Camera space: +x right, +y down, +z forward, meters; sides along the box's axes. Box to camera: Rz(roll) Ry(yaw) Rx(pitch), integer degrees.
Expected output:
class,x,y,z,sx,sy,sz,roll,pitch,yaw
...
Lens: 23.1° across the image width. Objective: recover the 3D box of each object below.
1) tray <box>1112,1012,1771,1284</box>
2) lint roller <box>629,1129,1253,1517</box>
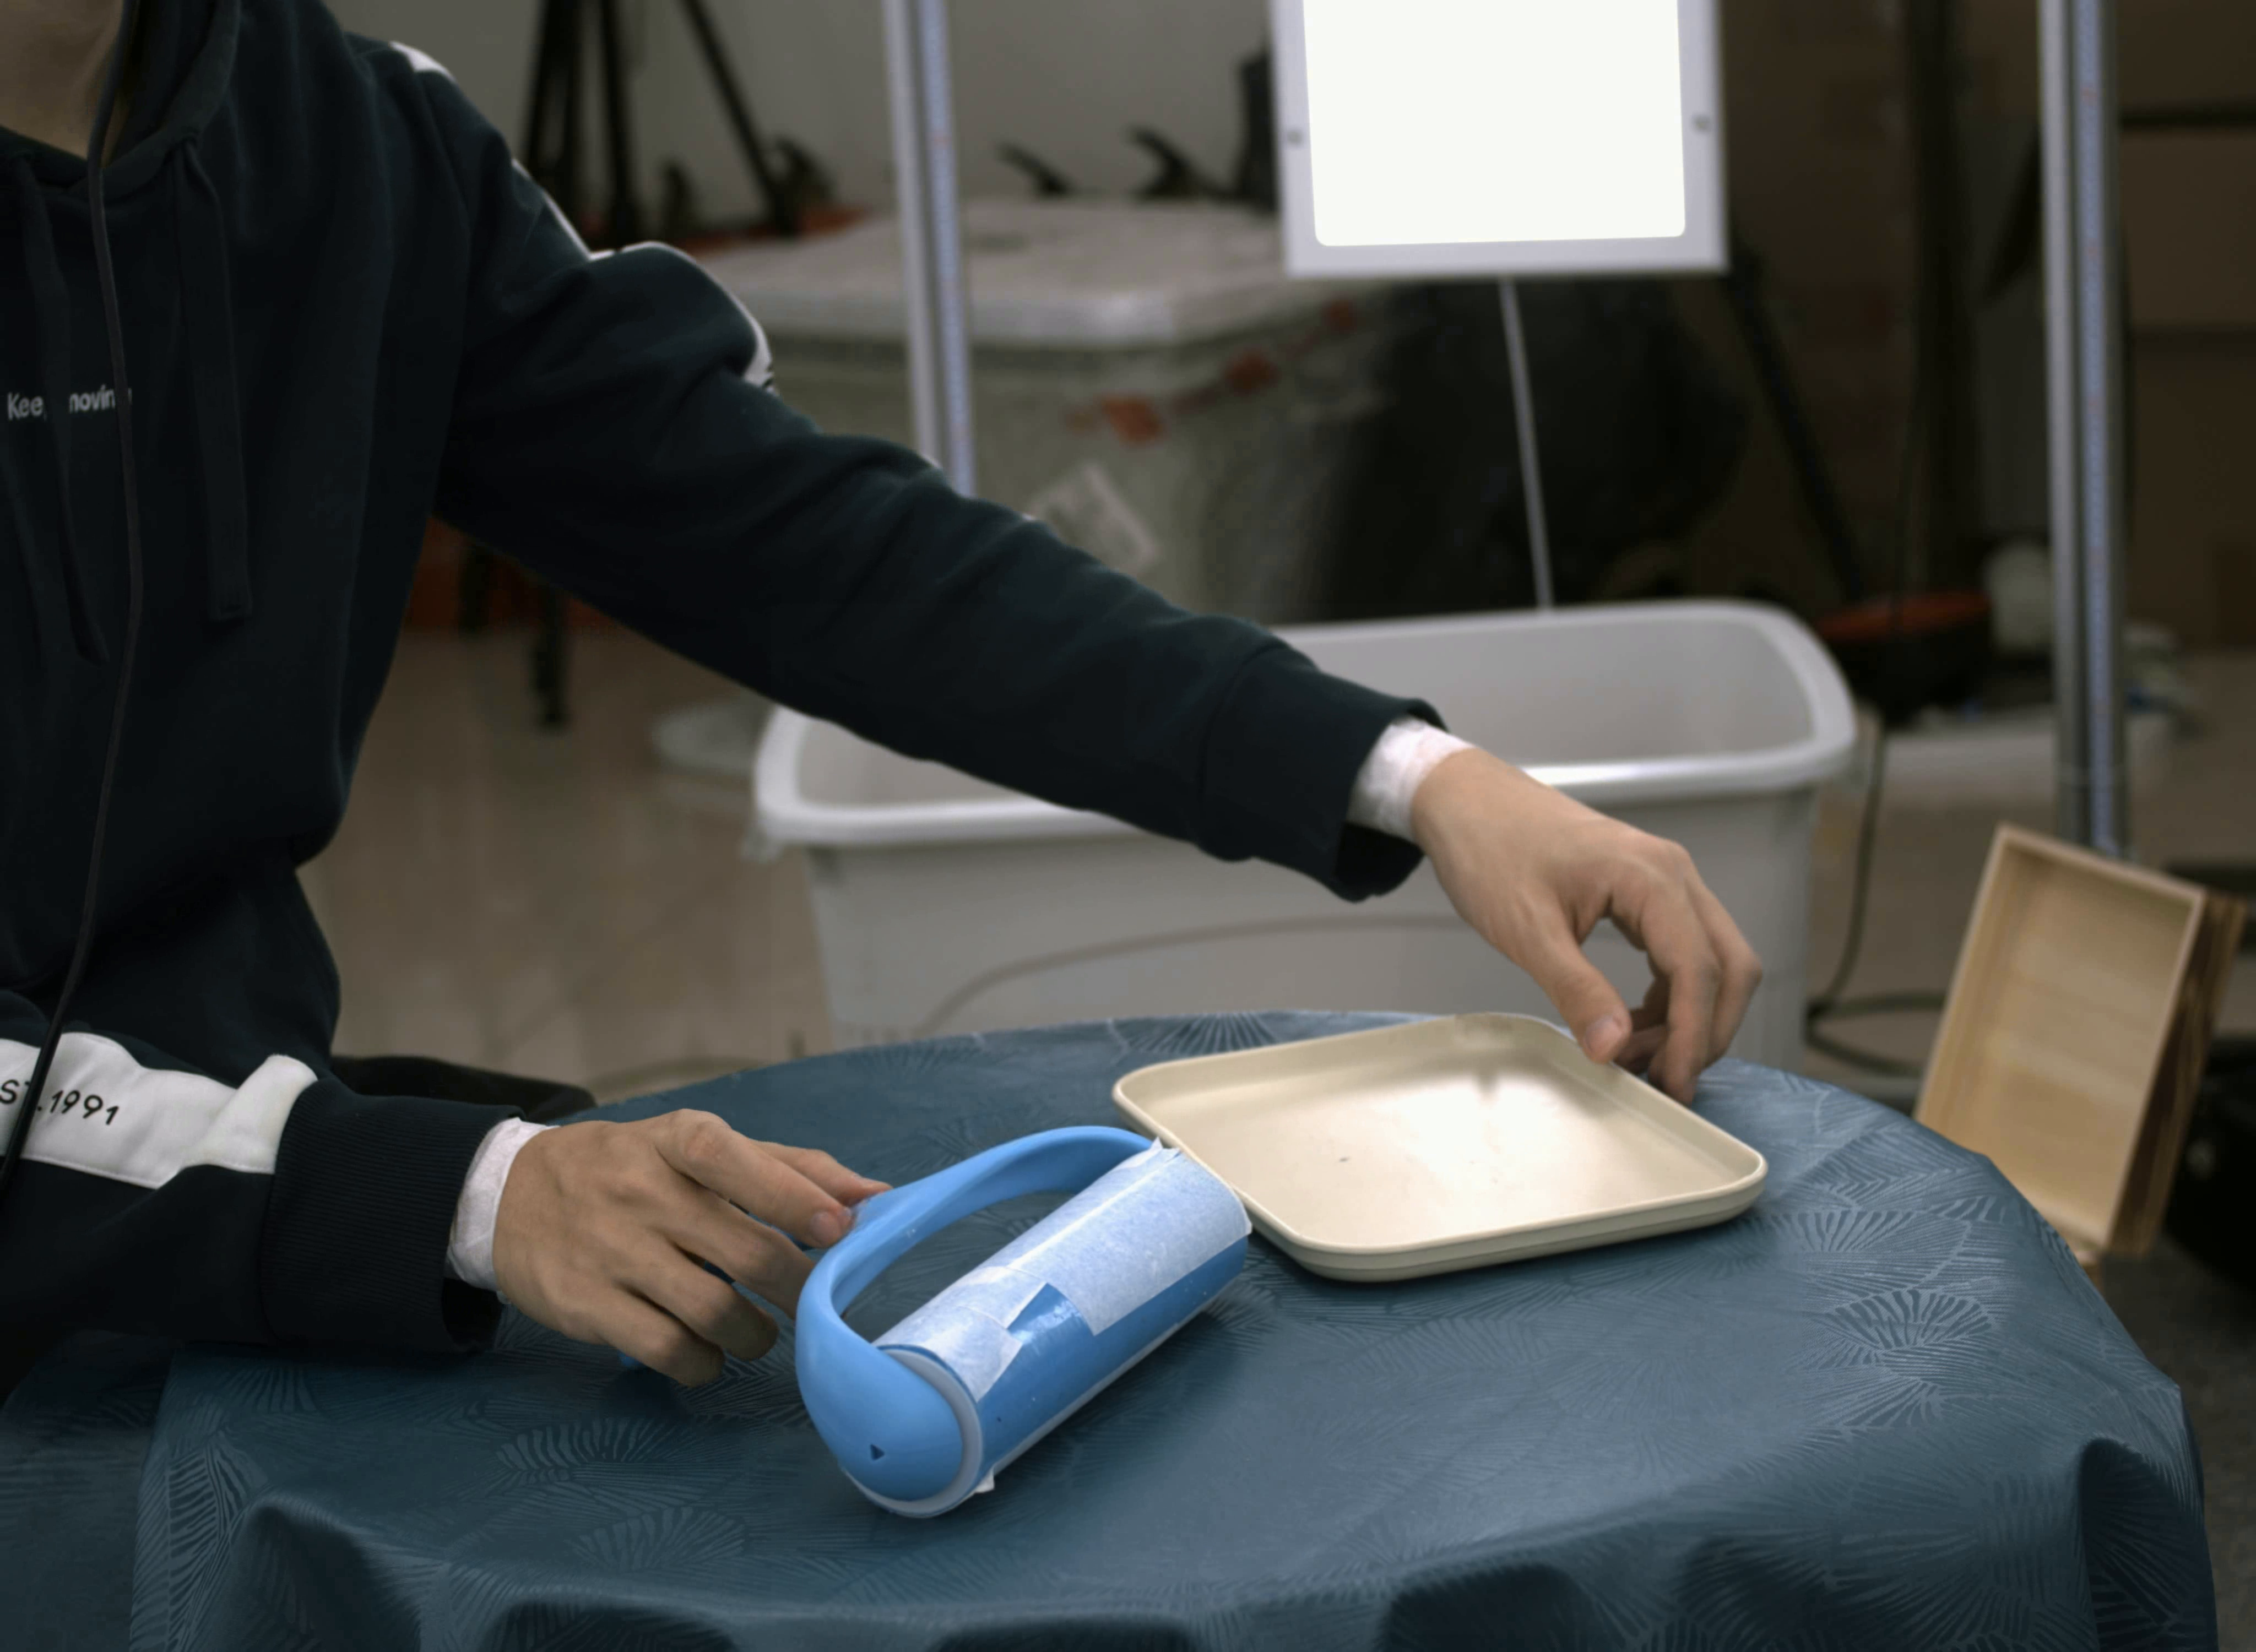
class,x,y,z,sx,sy,sz,roll,pitch,yaw
tray,0.104,0.109,1.889,0.169,0.017,0.242,-10,15,-16
lint roller,-0.078,0.150,1.710,0.183,0.068,0.224,2,17,23
